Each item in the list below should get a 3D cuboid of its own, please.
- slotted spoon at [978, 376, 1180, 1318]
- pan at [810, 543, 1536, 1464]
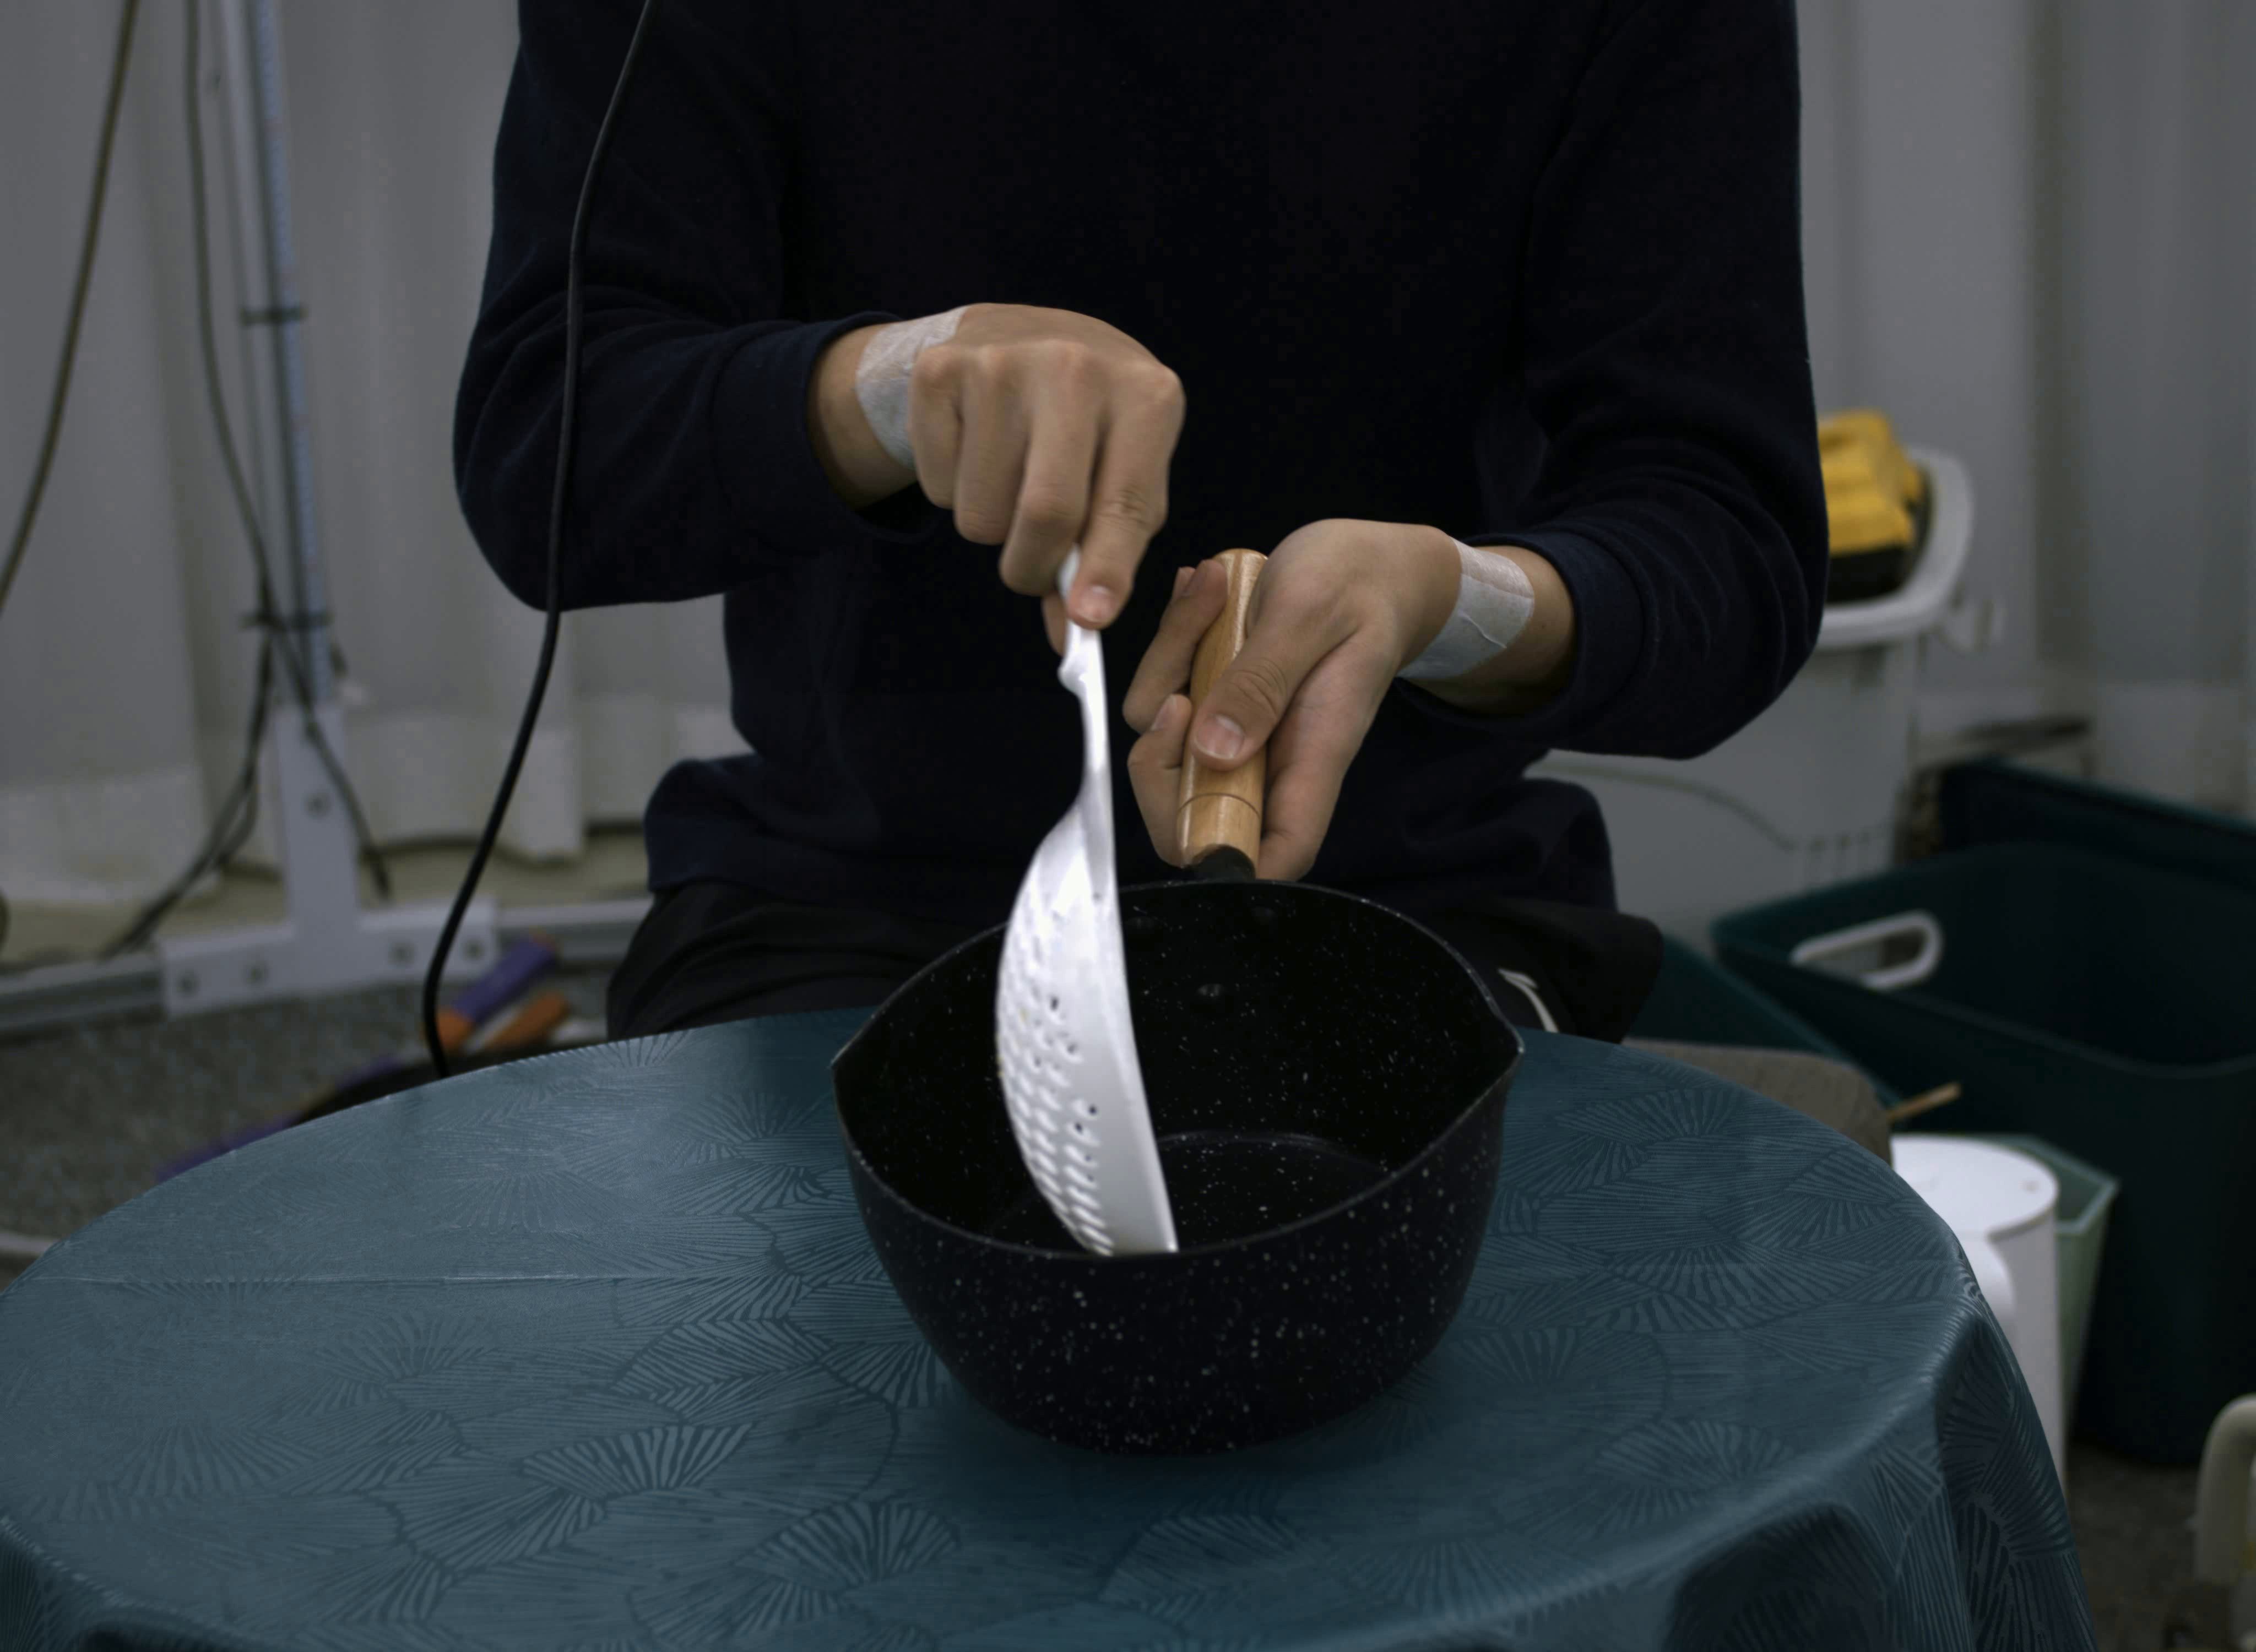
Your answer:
[{"bbox_3d":[-0.019,-0.009,1.563,0.050,0.135,0.353,-7,44,7],"label":"slotted spoon"},{"bbox_3d":[0.022,0.047,1.599,0.207,0.107,0.347,-4,32,9],"label":"pan"}]
